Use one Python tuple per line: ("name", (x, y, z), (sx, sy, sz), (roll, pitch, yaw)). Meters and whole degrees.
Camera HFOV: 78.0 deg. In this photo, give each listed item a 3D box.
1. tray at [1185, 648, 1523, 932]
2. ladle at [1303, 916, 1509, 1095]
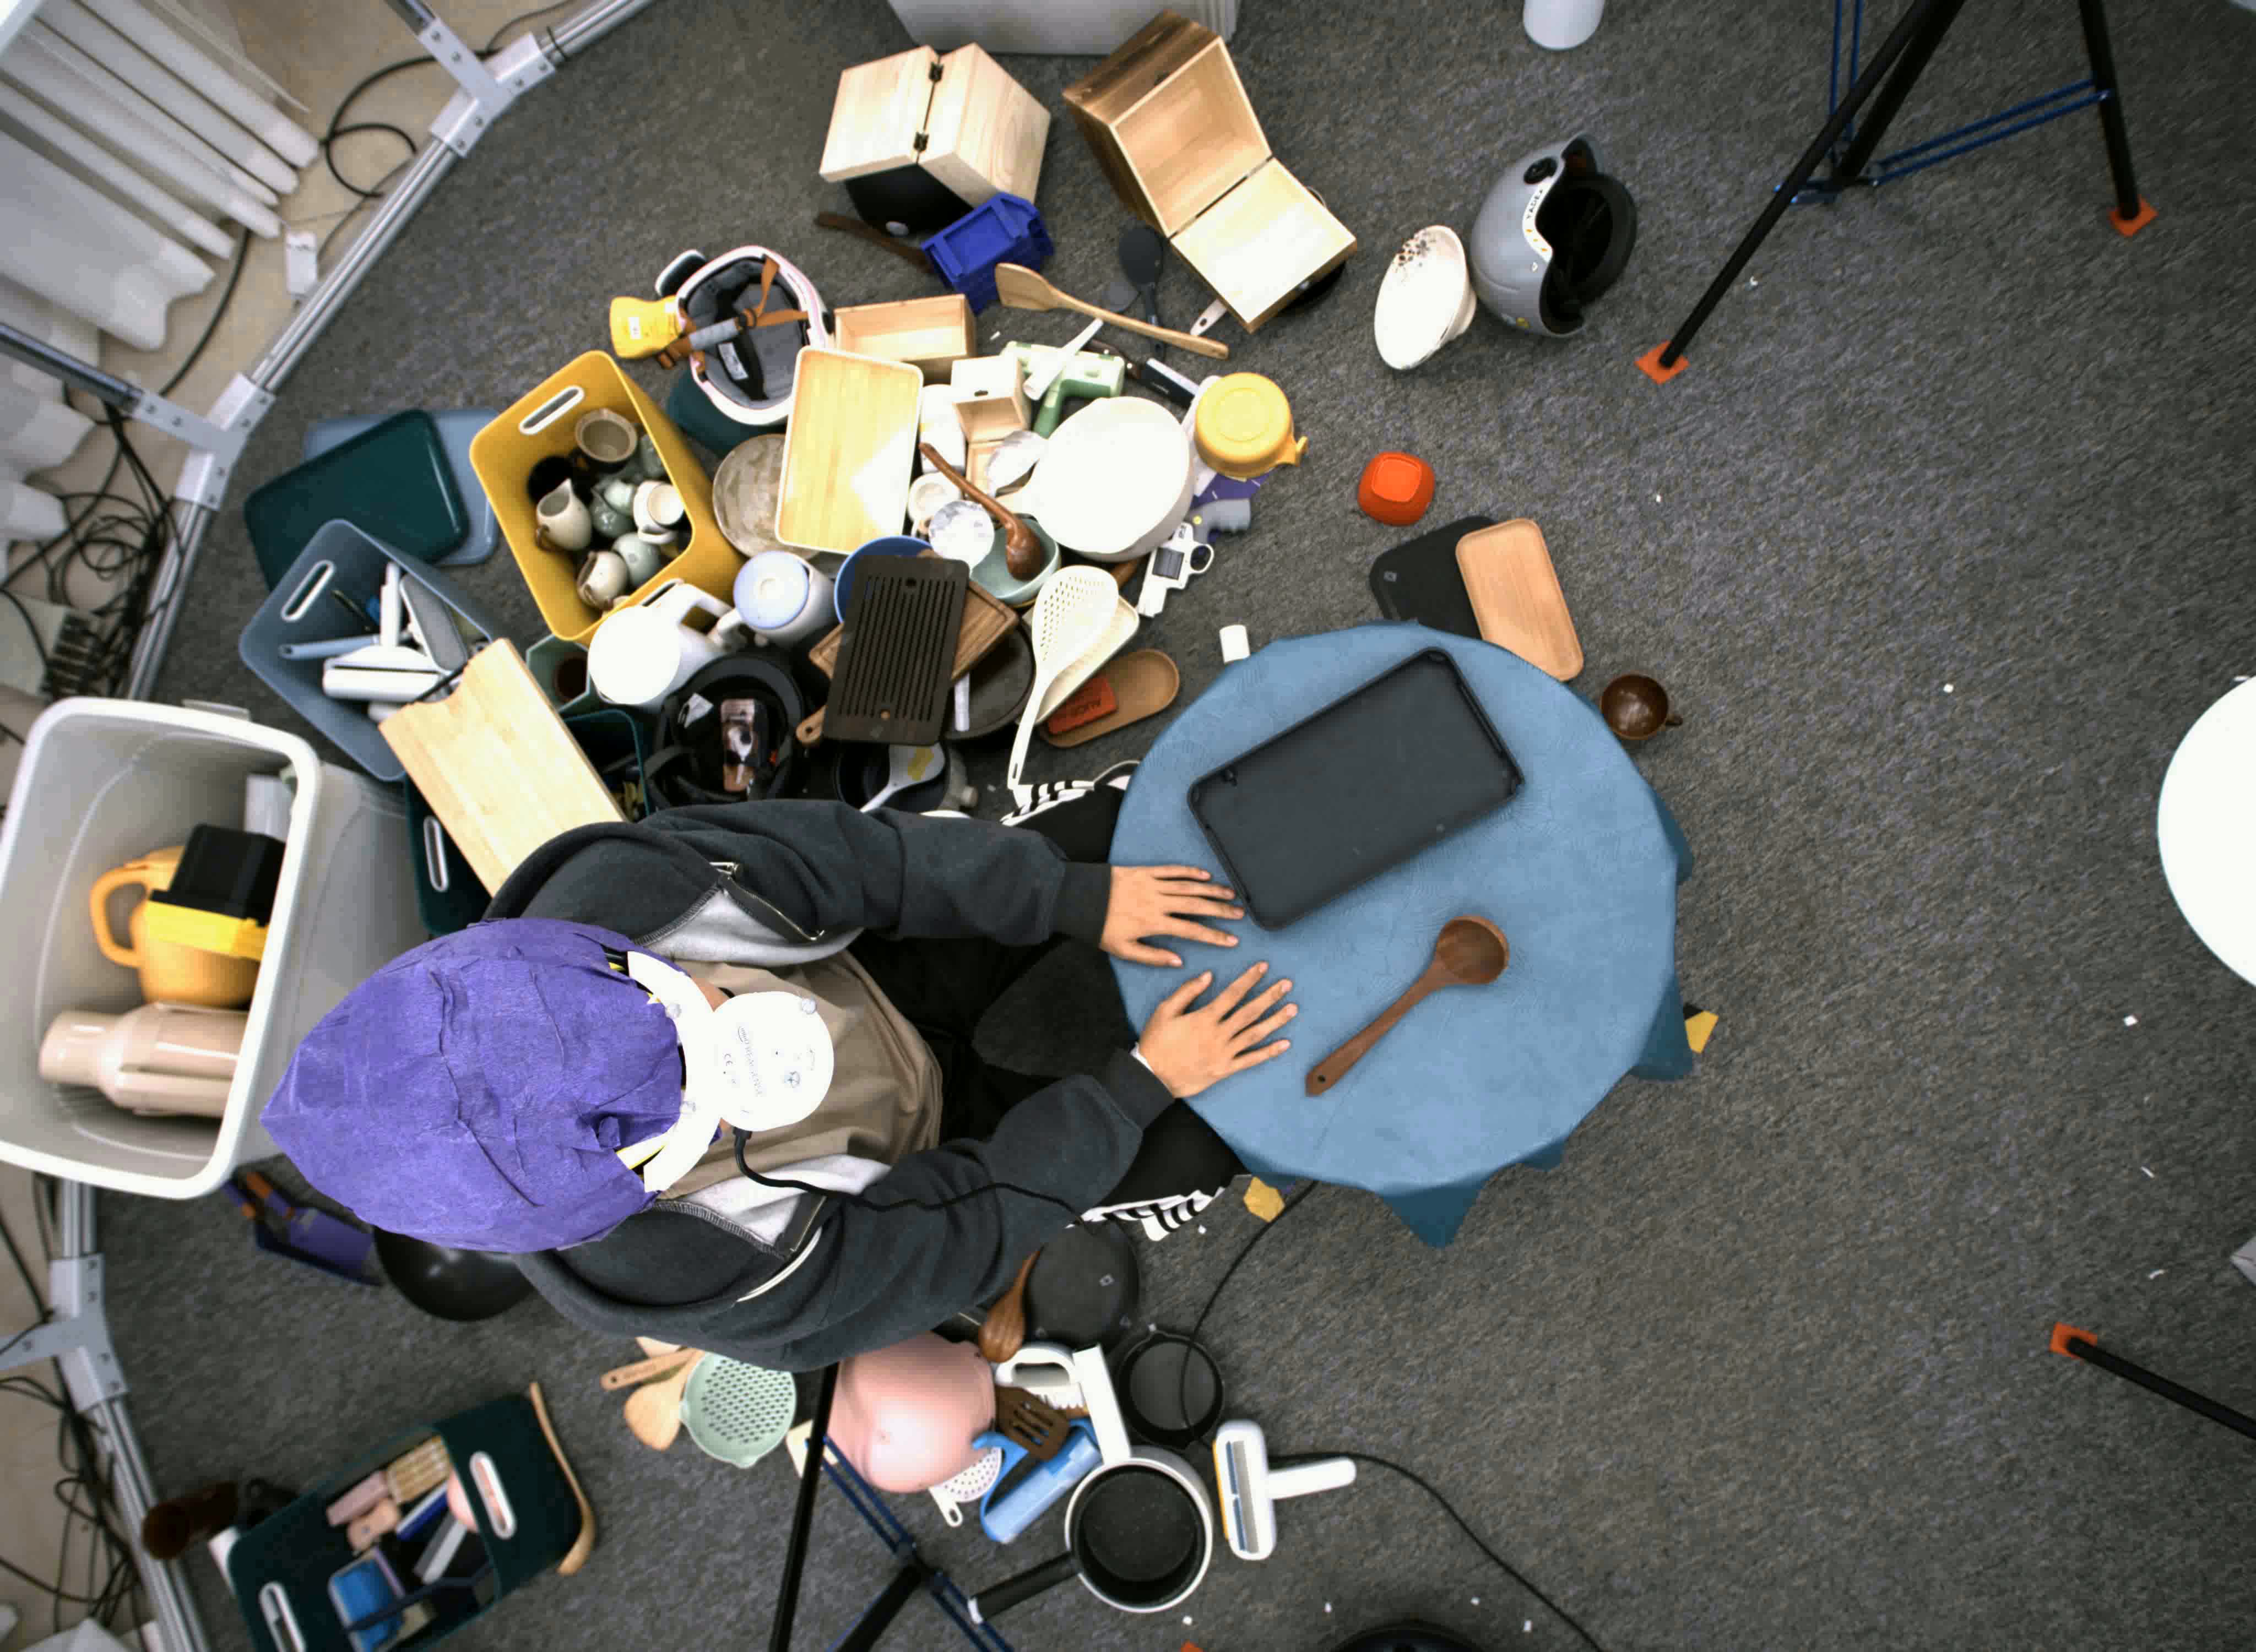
("tray", (0.235, -0.038, 1.451), (0.319, 0.037, 0.183), (-30, 82, 6))
("ladle", (0.280, 0.189, 1.418), (0.261, 0.065, 0.076), (-41, 80, 6))
